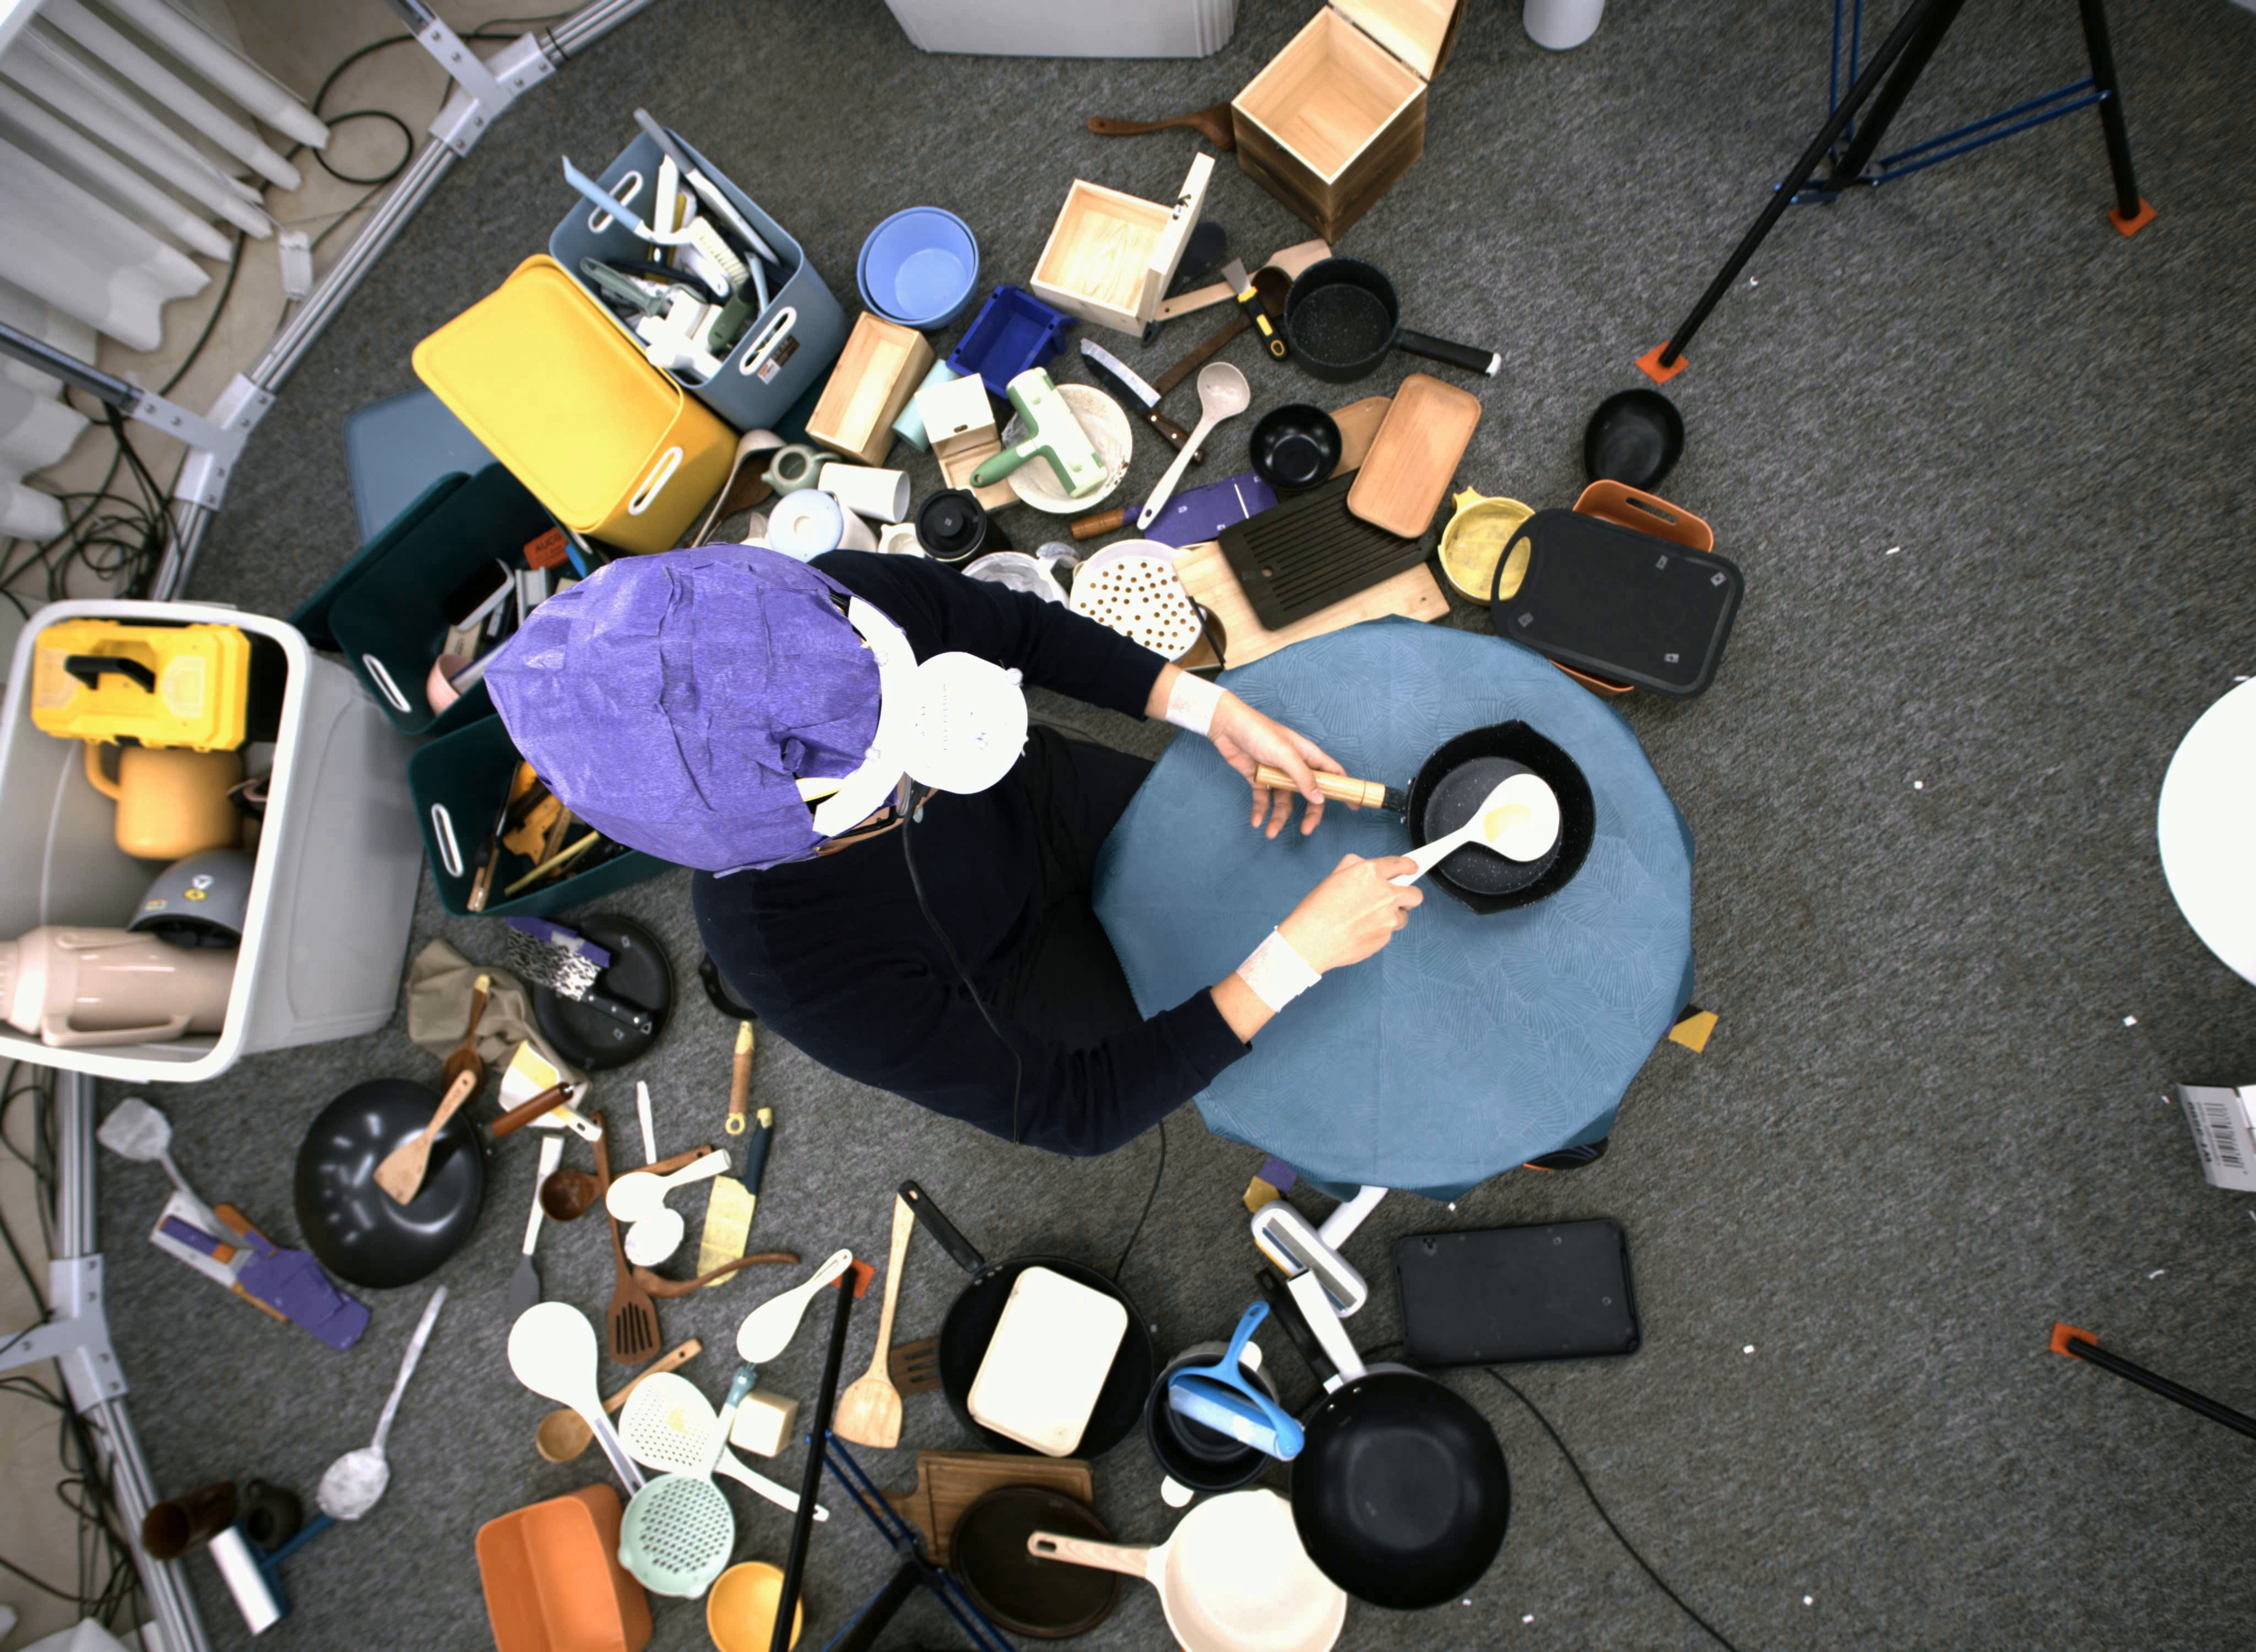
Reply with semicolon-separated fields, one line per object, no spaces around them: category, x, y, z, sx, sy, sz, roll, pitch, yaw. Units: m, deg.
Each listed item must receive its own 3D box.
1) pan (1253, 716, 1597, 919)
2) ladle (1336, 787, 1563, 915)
pan;0.298;-0.020;1.405;0.343;0.108;0.207;10;89;10
ladle;0.319;0.030;1.342;0.070;0.288;0.091;11;113;46
